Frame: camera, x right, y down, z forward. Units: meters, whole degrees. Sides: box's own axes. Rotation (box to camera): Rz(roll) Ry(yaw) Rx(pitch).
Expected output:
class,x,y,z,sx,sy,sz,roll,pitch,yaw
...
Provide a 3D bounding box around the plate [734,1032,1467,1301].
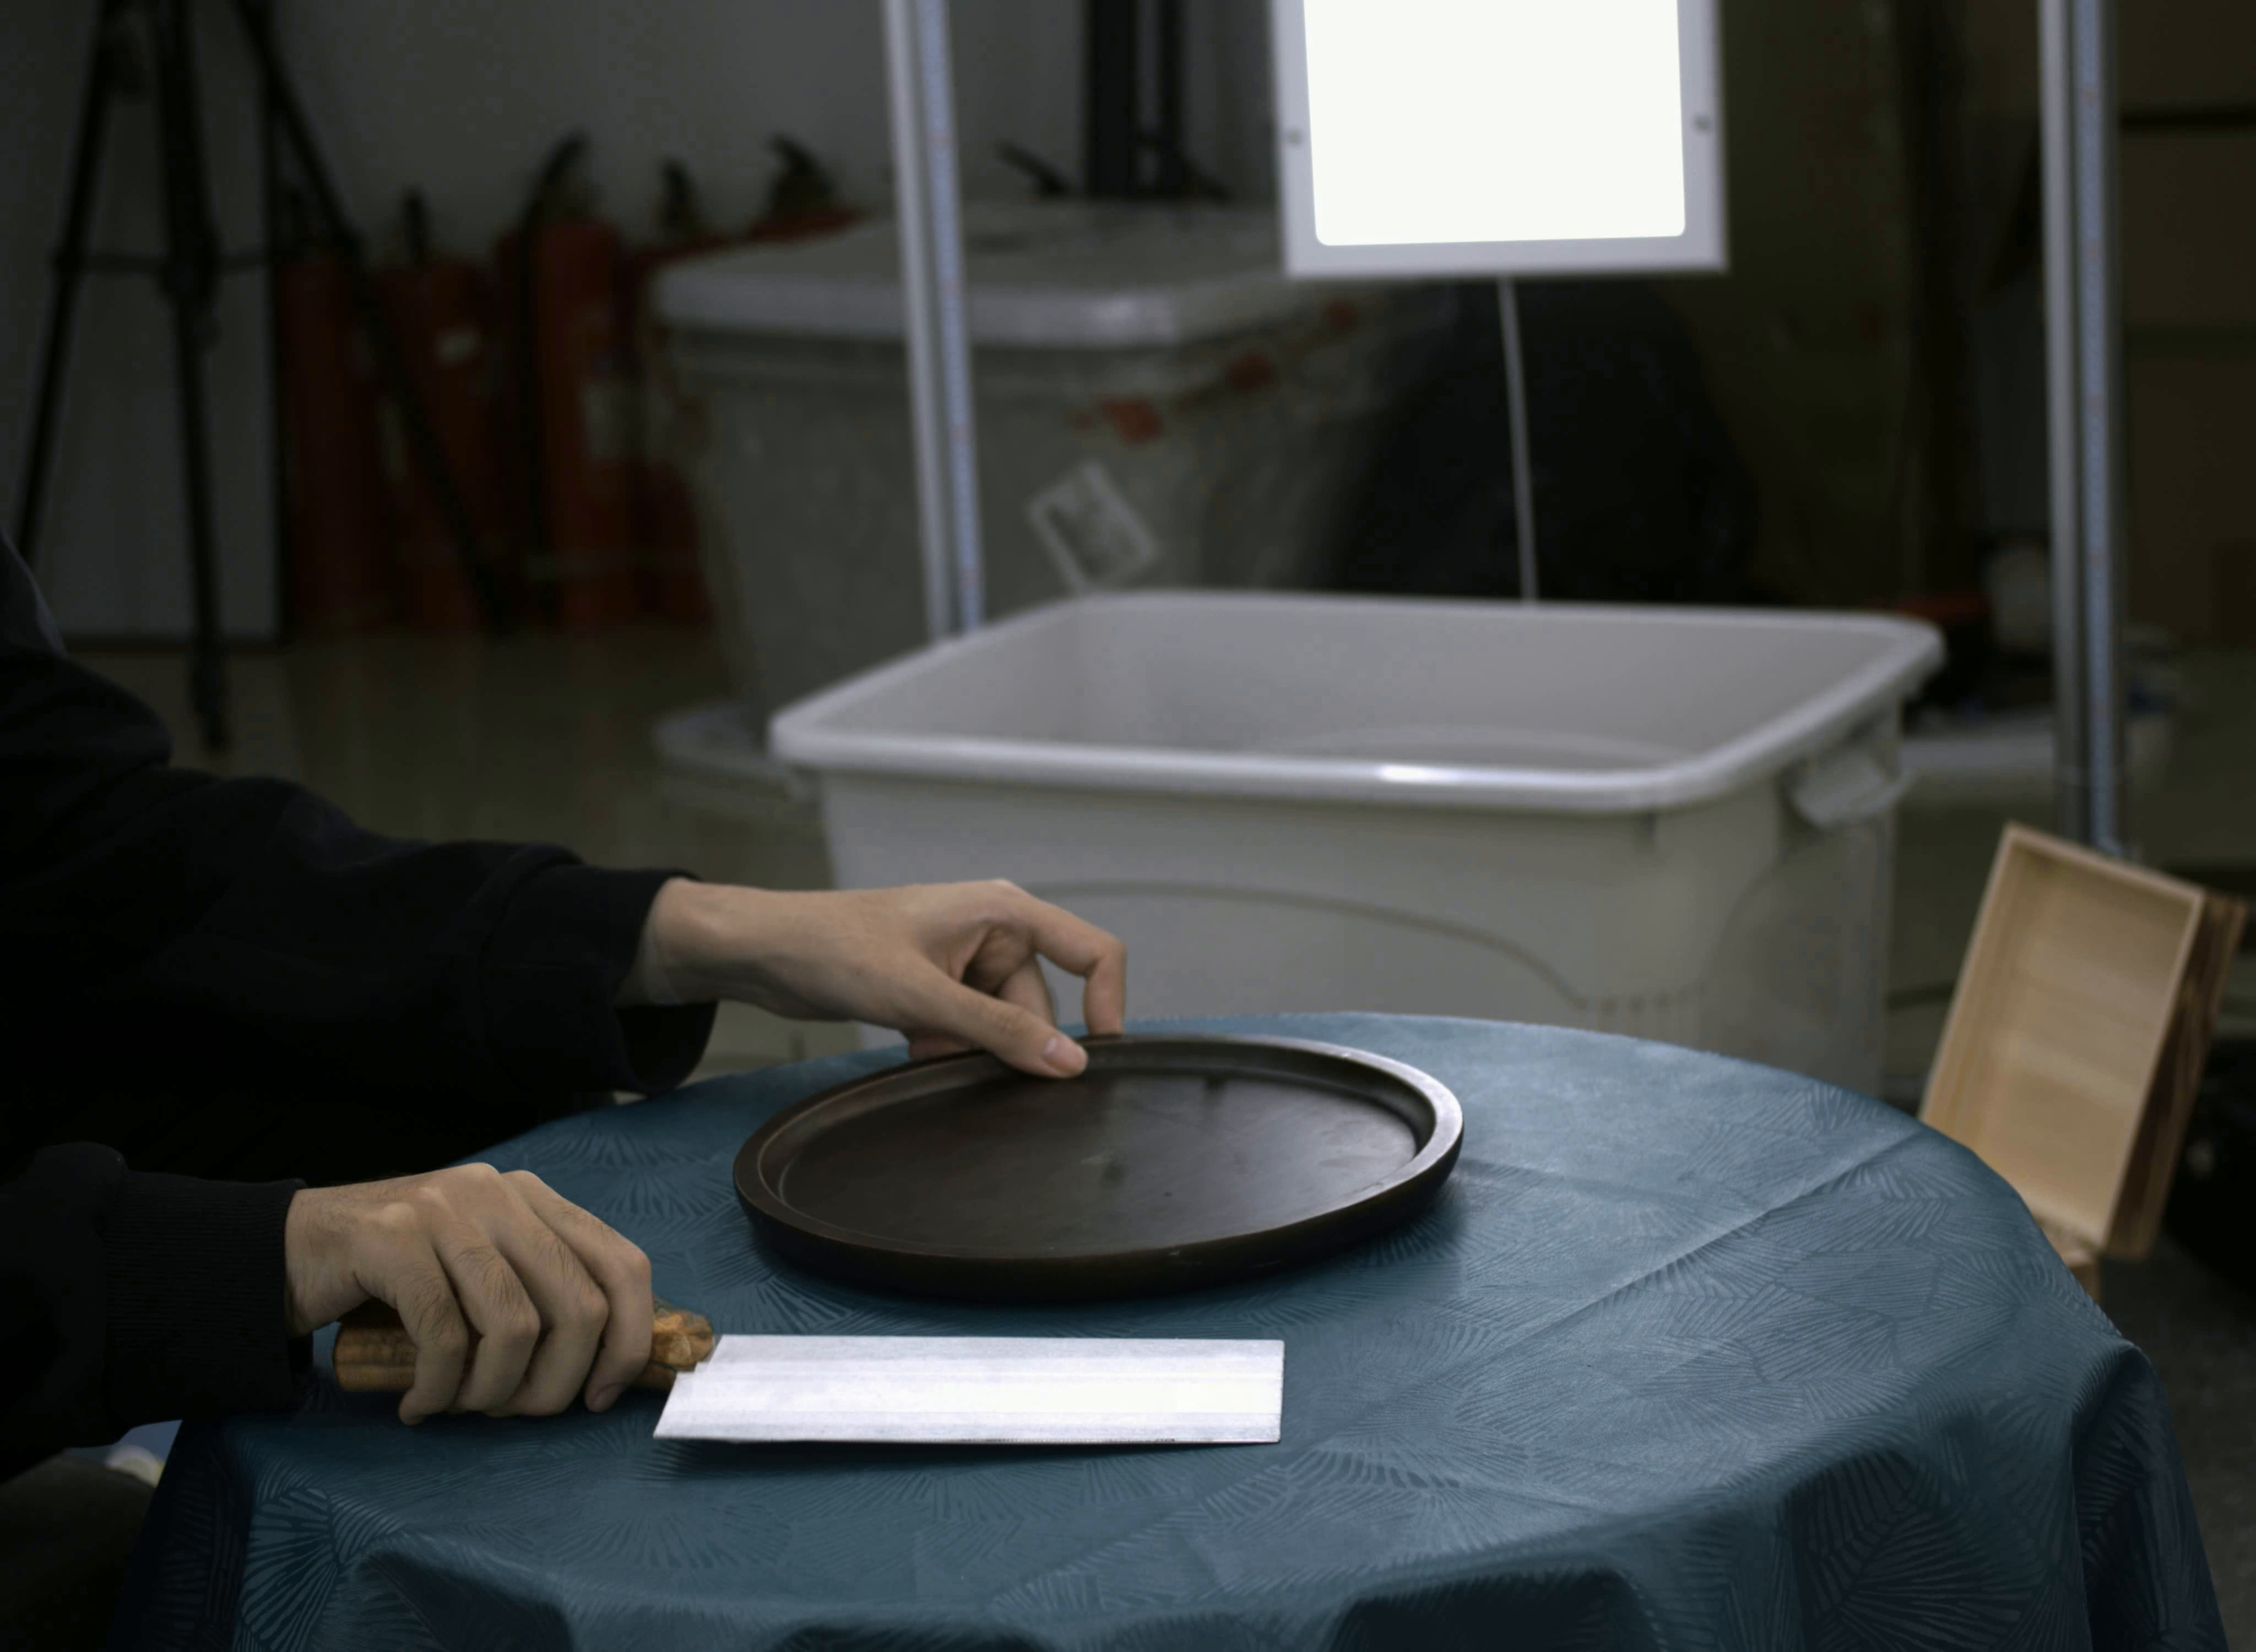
class,x,y,z,sx,sy,sz,roll,pitch,yaw
plate,-0.009,0.115,1.893,0.254,0.029,0.254,-4,13,0

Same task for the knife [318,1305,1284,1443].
class,x,y,z,sx,sy,sz,roll,pitch,yaw
knife,-0.104,0.171,1.703,0.306,0.021,0.092,1,15,5
